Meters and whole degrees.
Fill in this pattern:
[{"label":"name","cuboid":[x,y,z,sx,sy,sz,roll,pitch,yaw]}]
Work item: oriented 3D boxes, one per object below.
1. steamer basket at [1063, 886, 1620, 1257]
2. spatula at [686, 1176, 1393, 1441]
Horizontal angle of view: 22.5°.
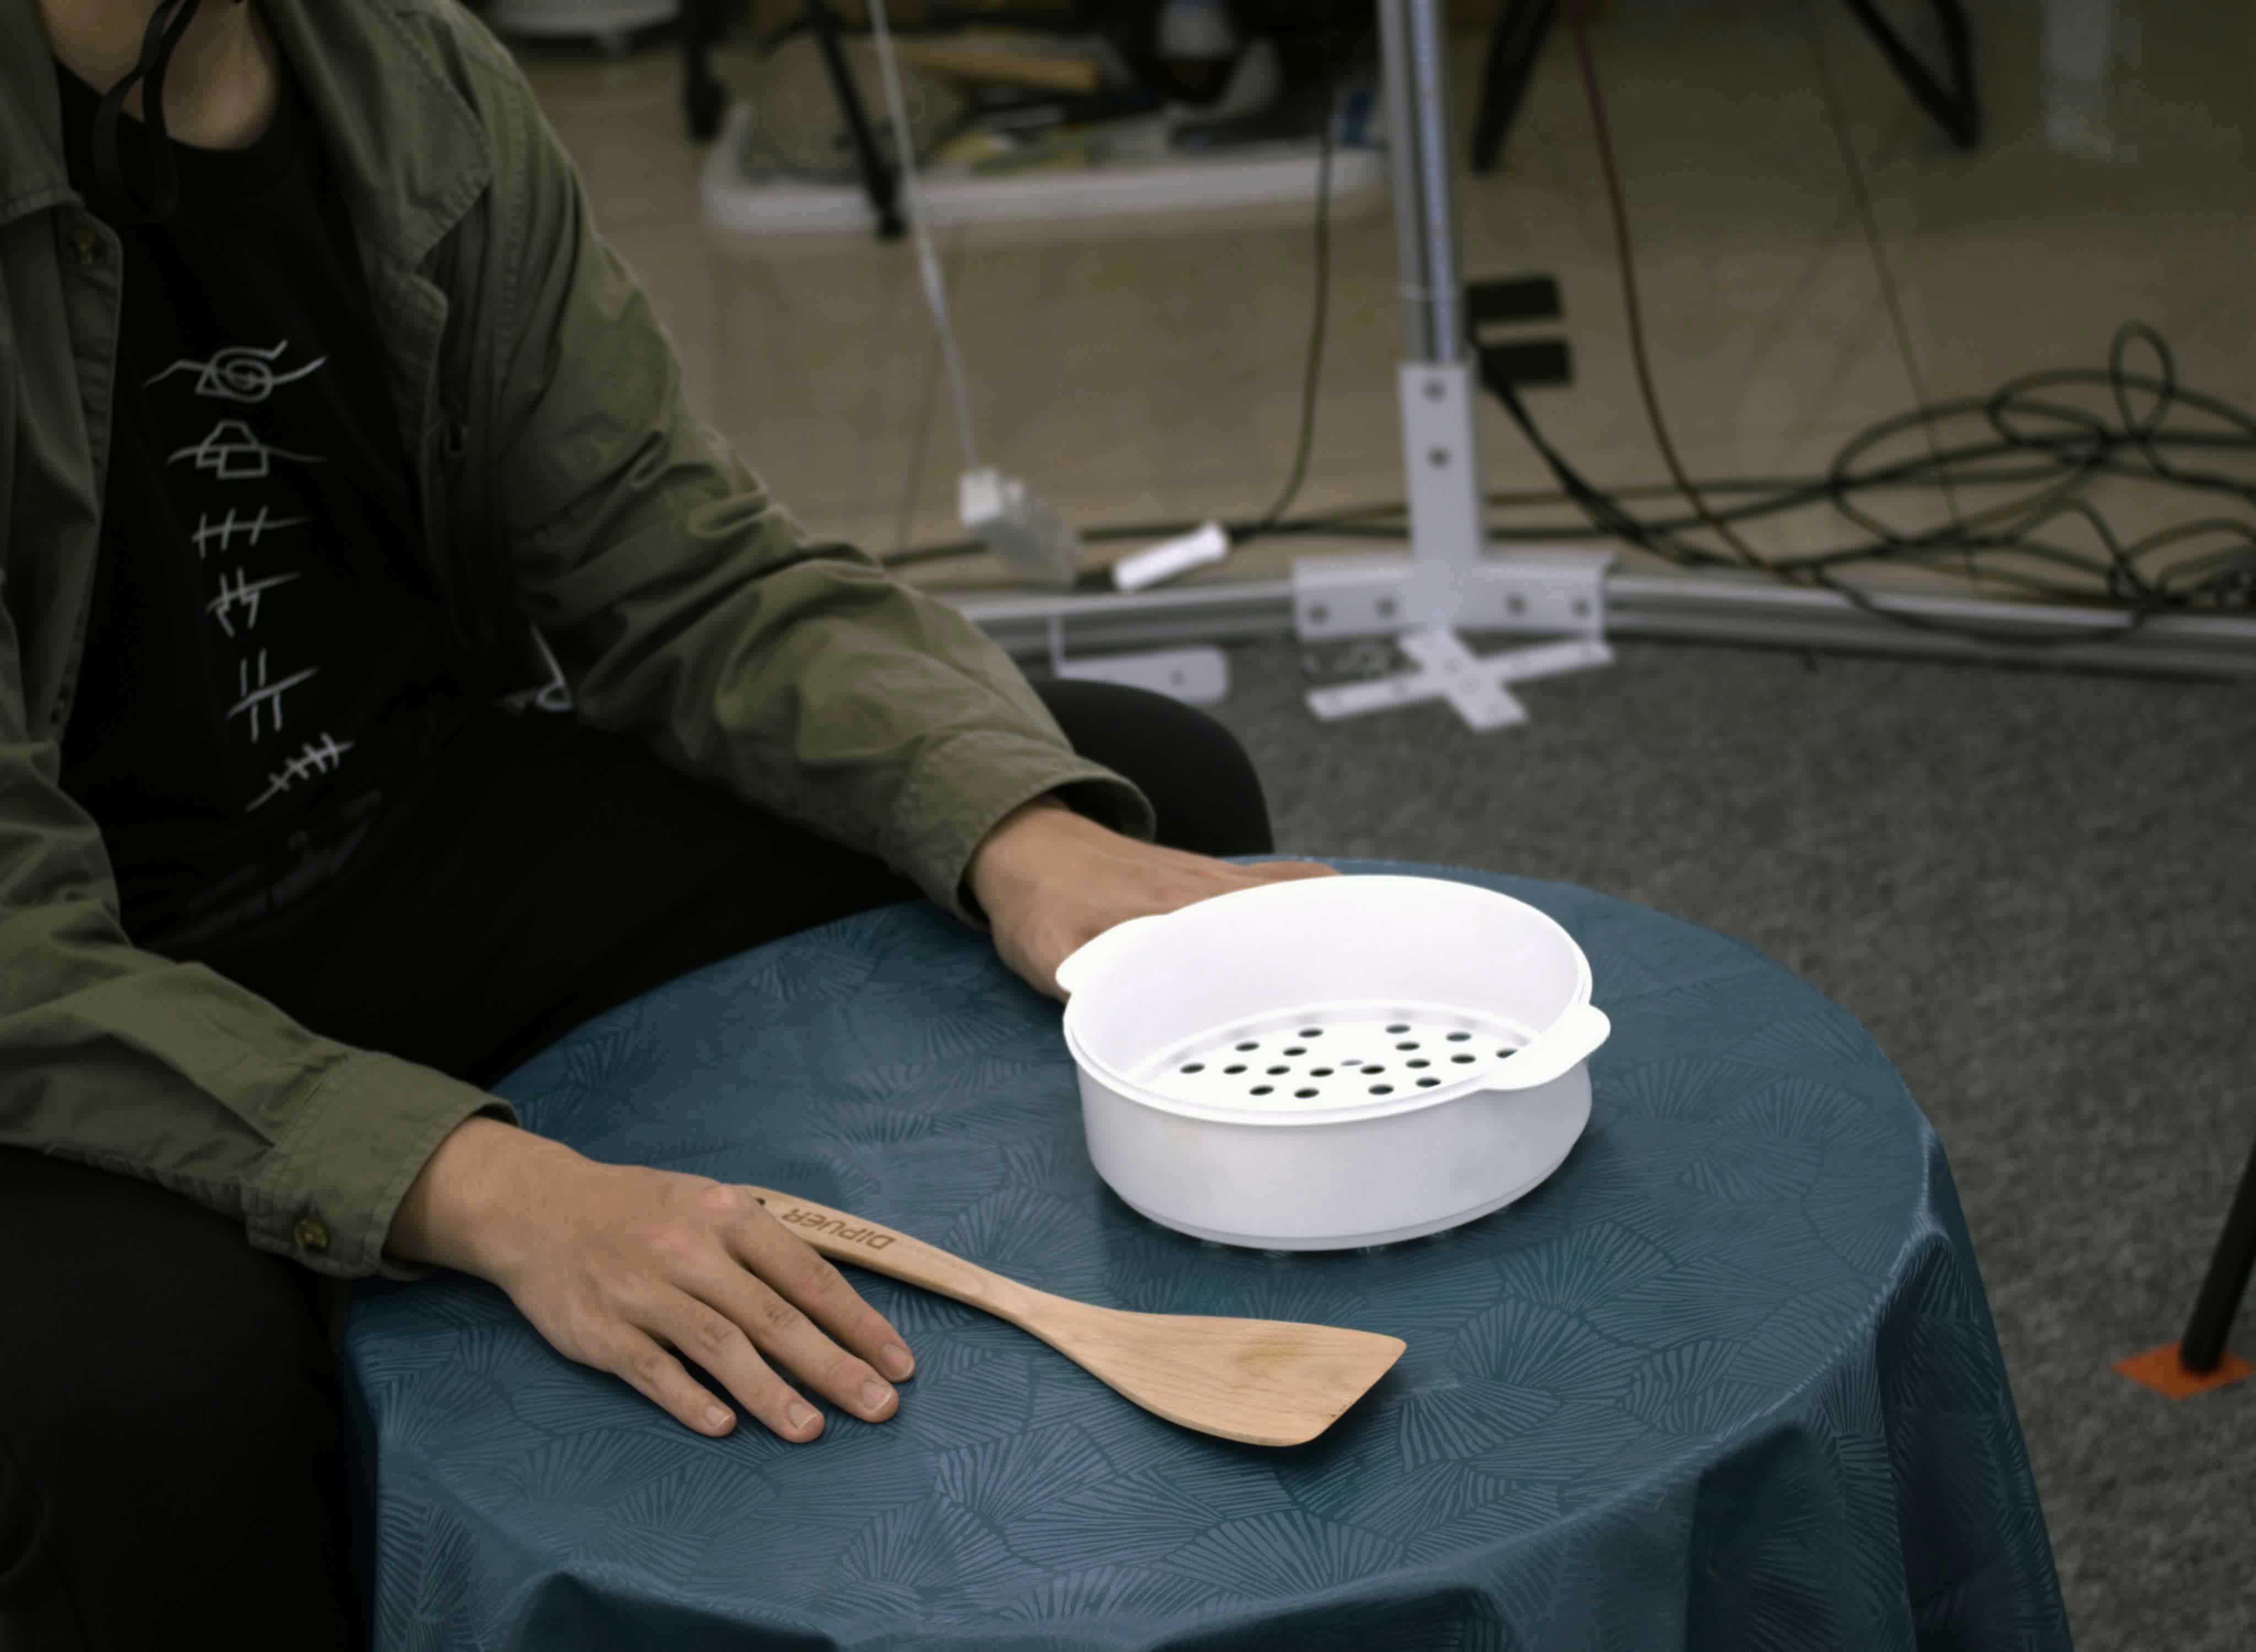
[{"label":"steamer basket","cuboid":[0.082,0.093,2.152,0.229,0.070,0.200,11,30,36]},{"label":"spatula","cuboid":[-0.042,0.169,2.079,0.325,0.017,0.079,15,33,38]}]
